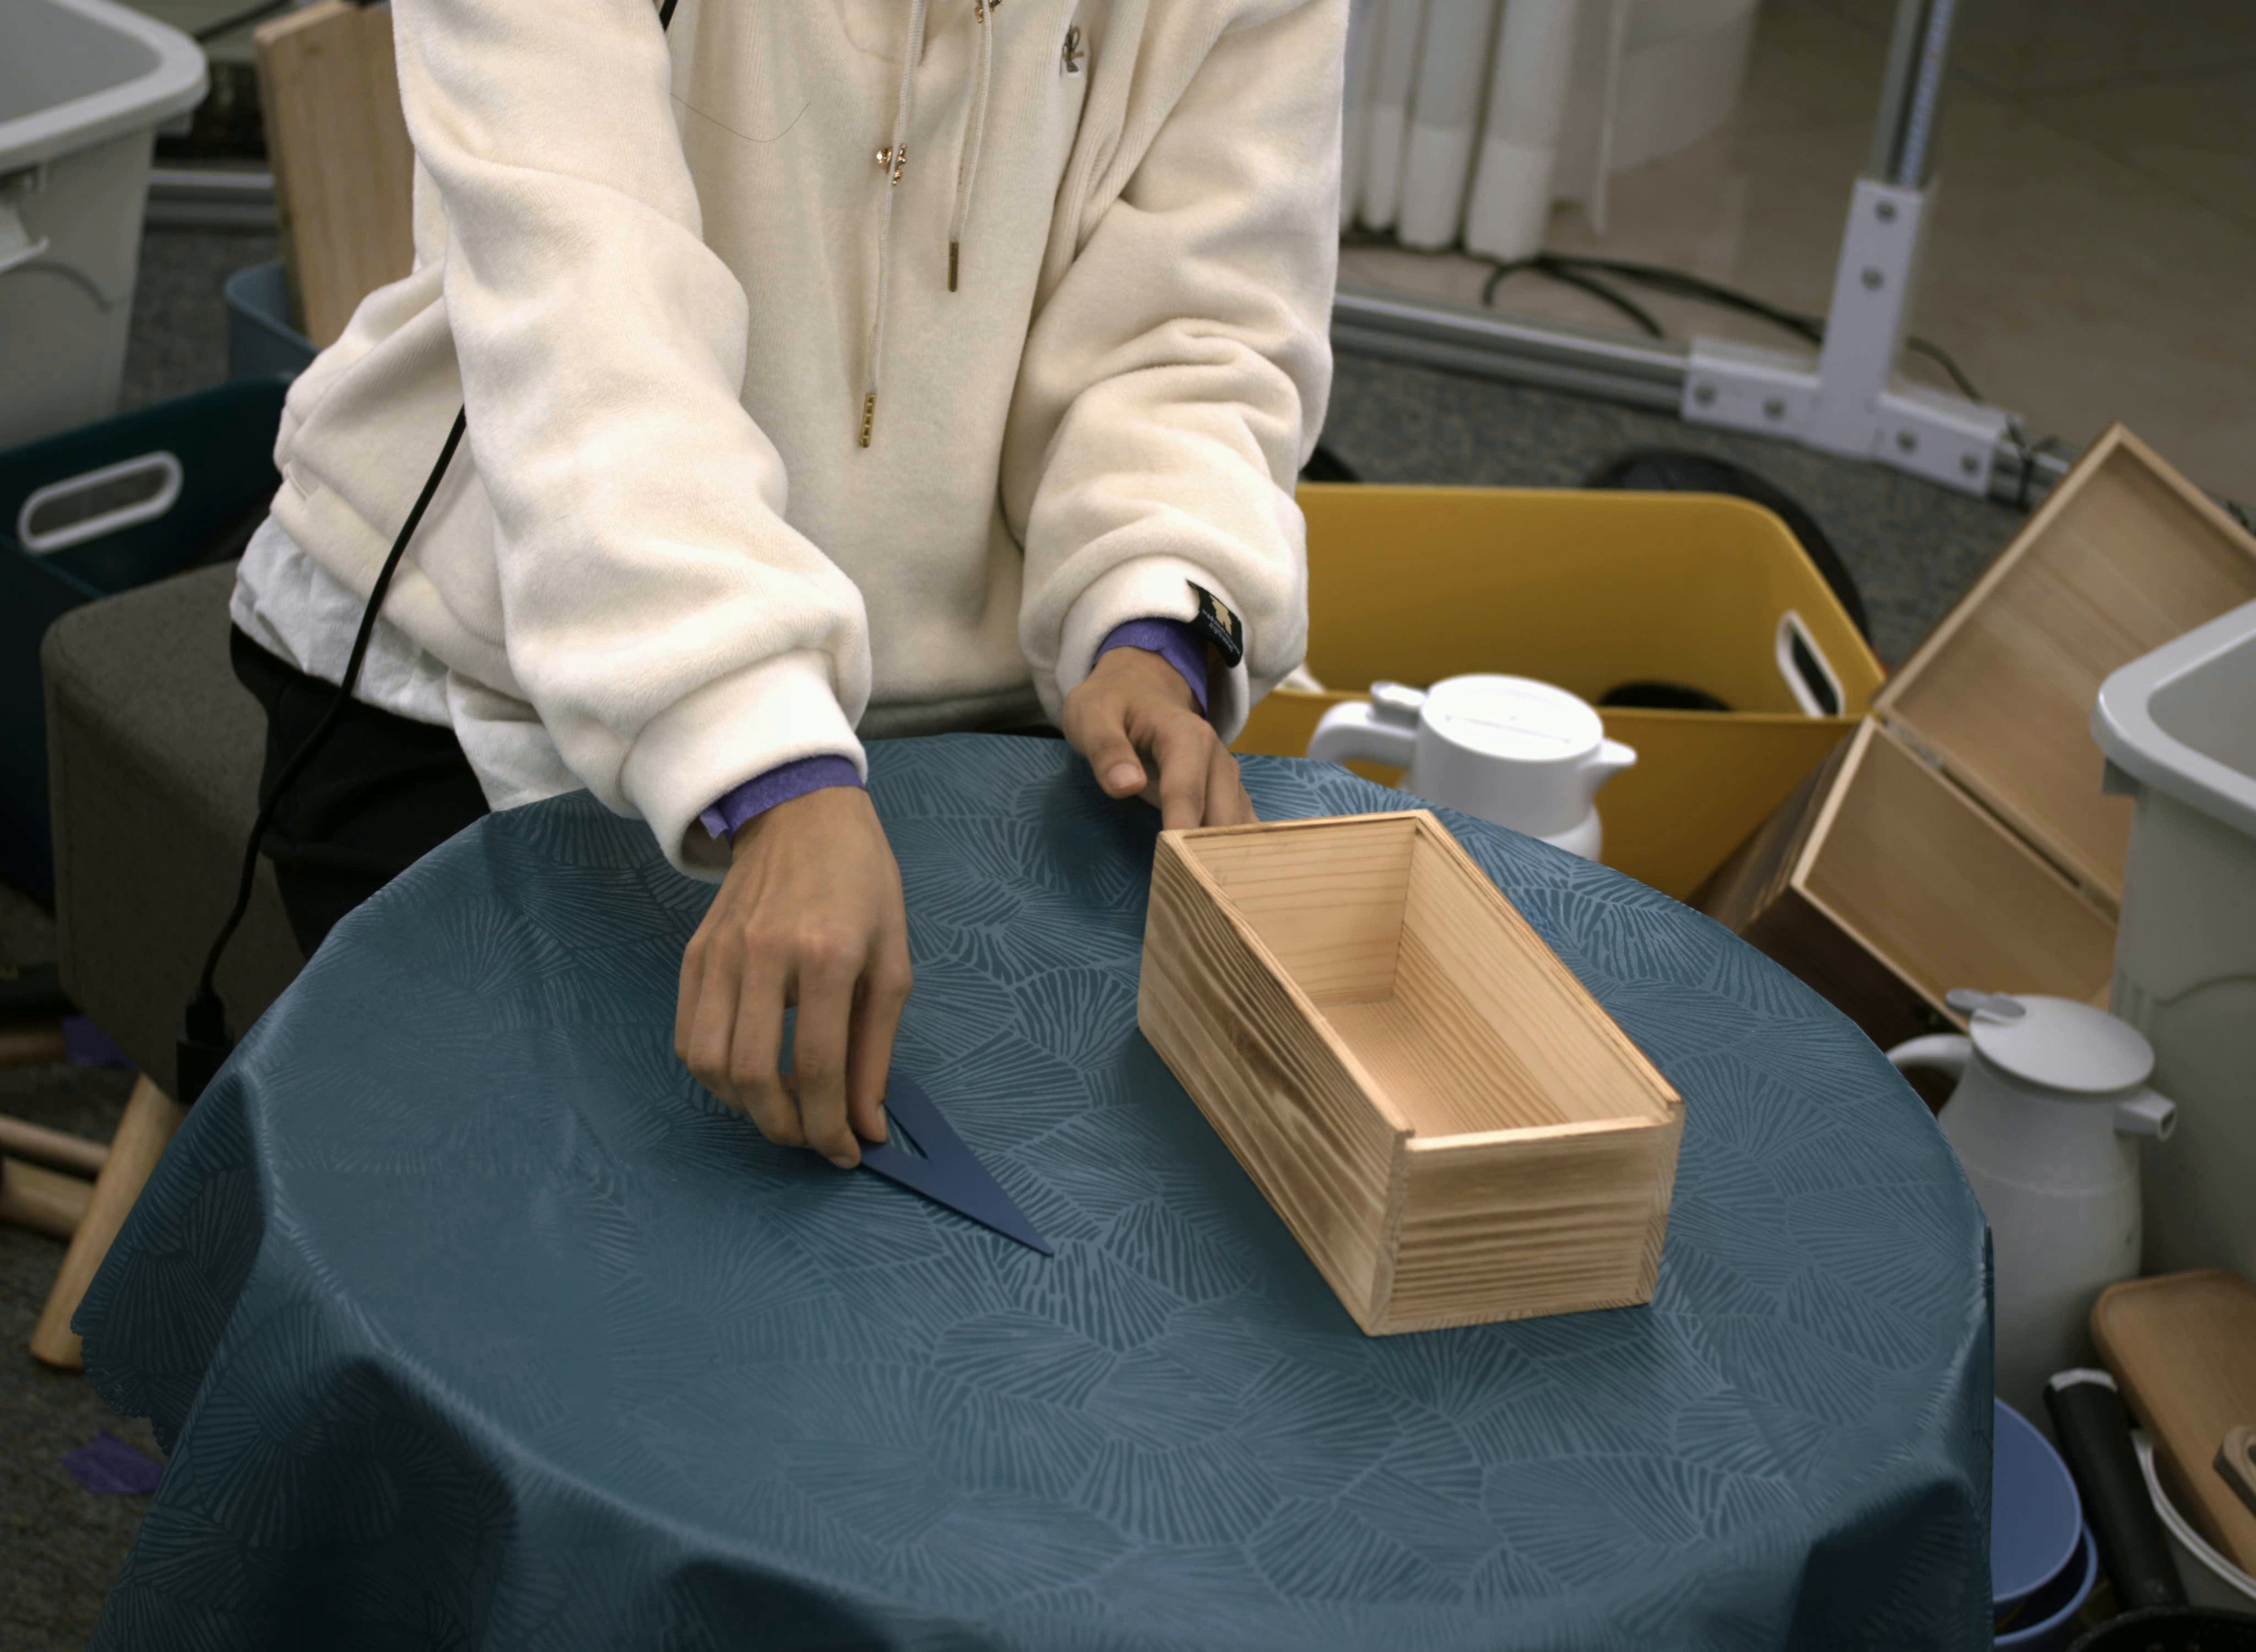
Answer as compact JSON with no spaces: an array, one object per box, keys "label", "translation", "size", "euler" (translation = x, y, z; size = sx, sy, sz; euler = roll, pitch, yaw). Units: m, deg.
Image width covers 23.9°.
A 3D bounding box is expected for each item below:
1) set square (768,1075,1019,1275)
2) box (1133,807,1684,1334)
[{"label":"set square","translation":[-0.082,0.116,1.790],"size":[0.061,0.006,0.133],"euler":[0,27,-23]},{"label":"box","translation":[0.092,0.080,1.821],"size":[0.107,0.080,0.213],"euler":[-4,29,-22]}]
